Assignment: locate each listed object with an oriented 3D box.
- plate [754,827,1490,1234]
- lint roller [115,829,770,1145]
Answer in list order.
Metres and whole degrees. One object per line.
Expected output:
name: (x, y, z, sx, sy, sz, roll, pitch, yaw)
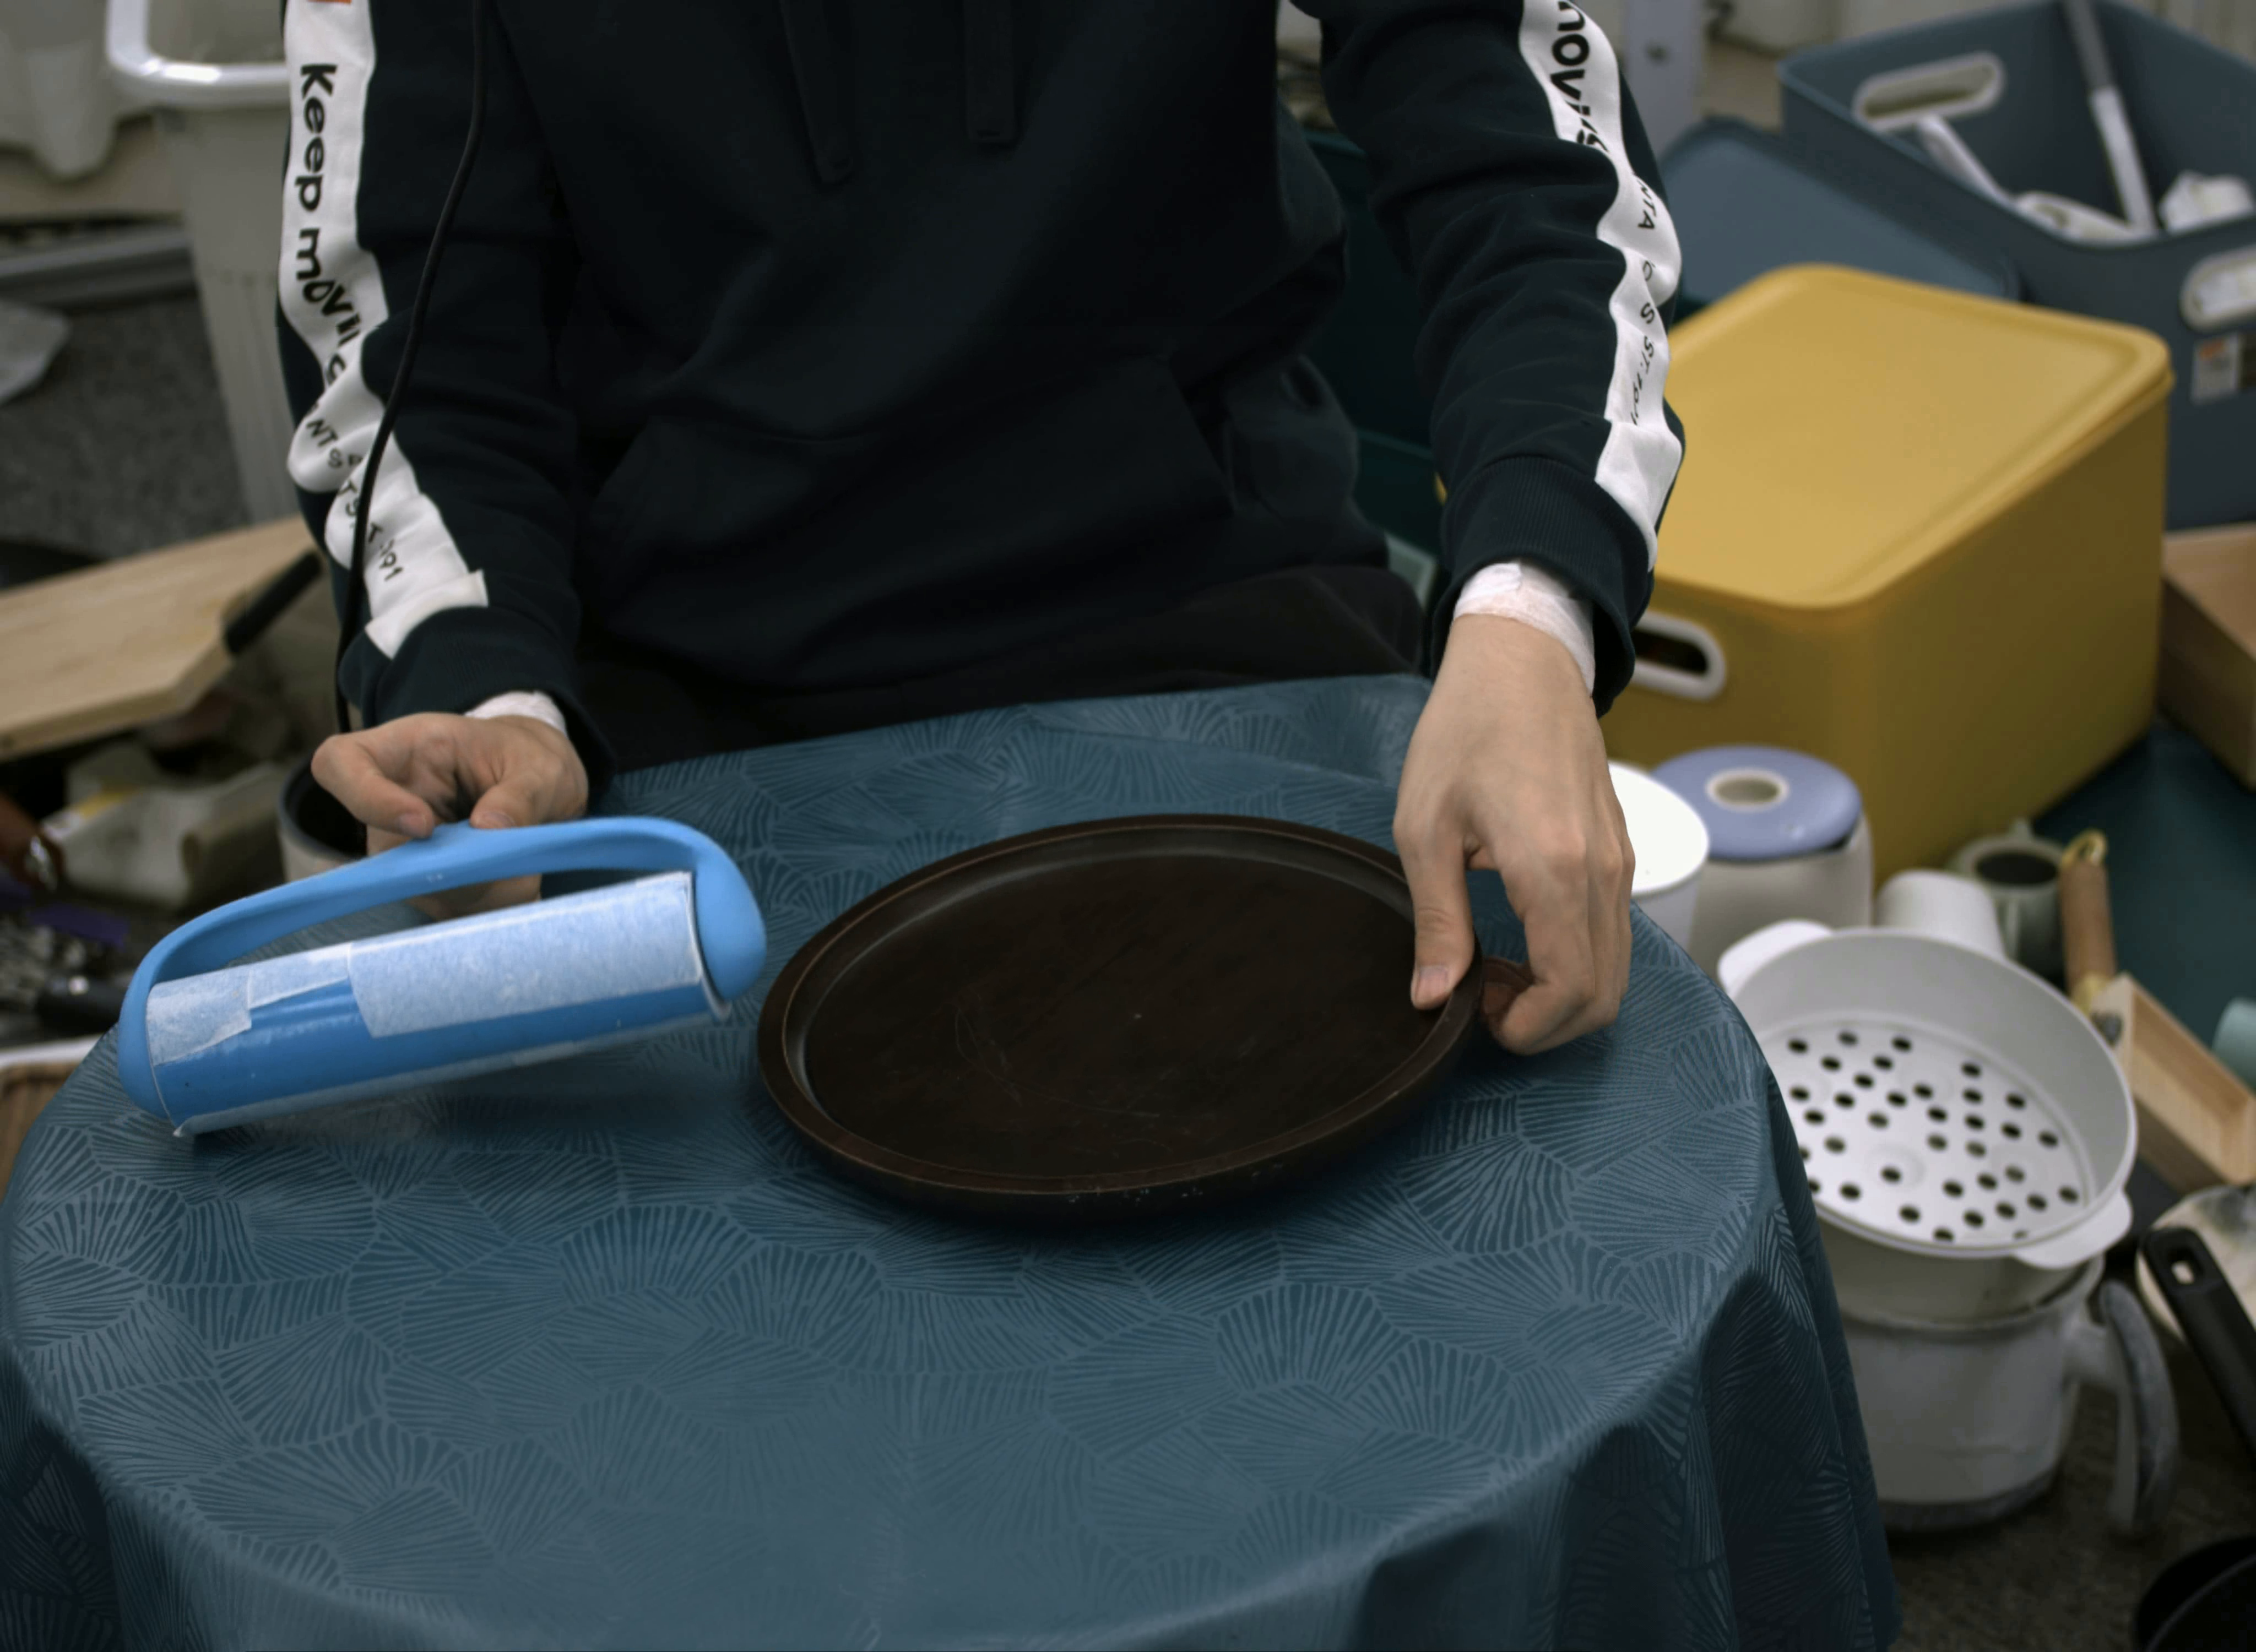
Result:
plate: (-0.002, 0.068, 1.926, 0.253, 0.029, 0.259, -5, 29, 3)
lint roller: (-0.234, 0.037, 1.956, 0.227, 0.067, 0.183, -14, 25, 4)
